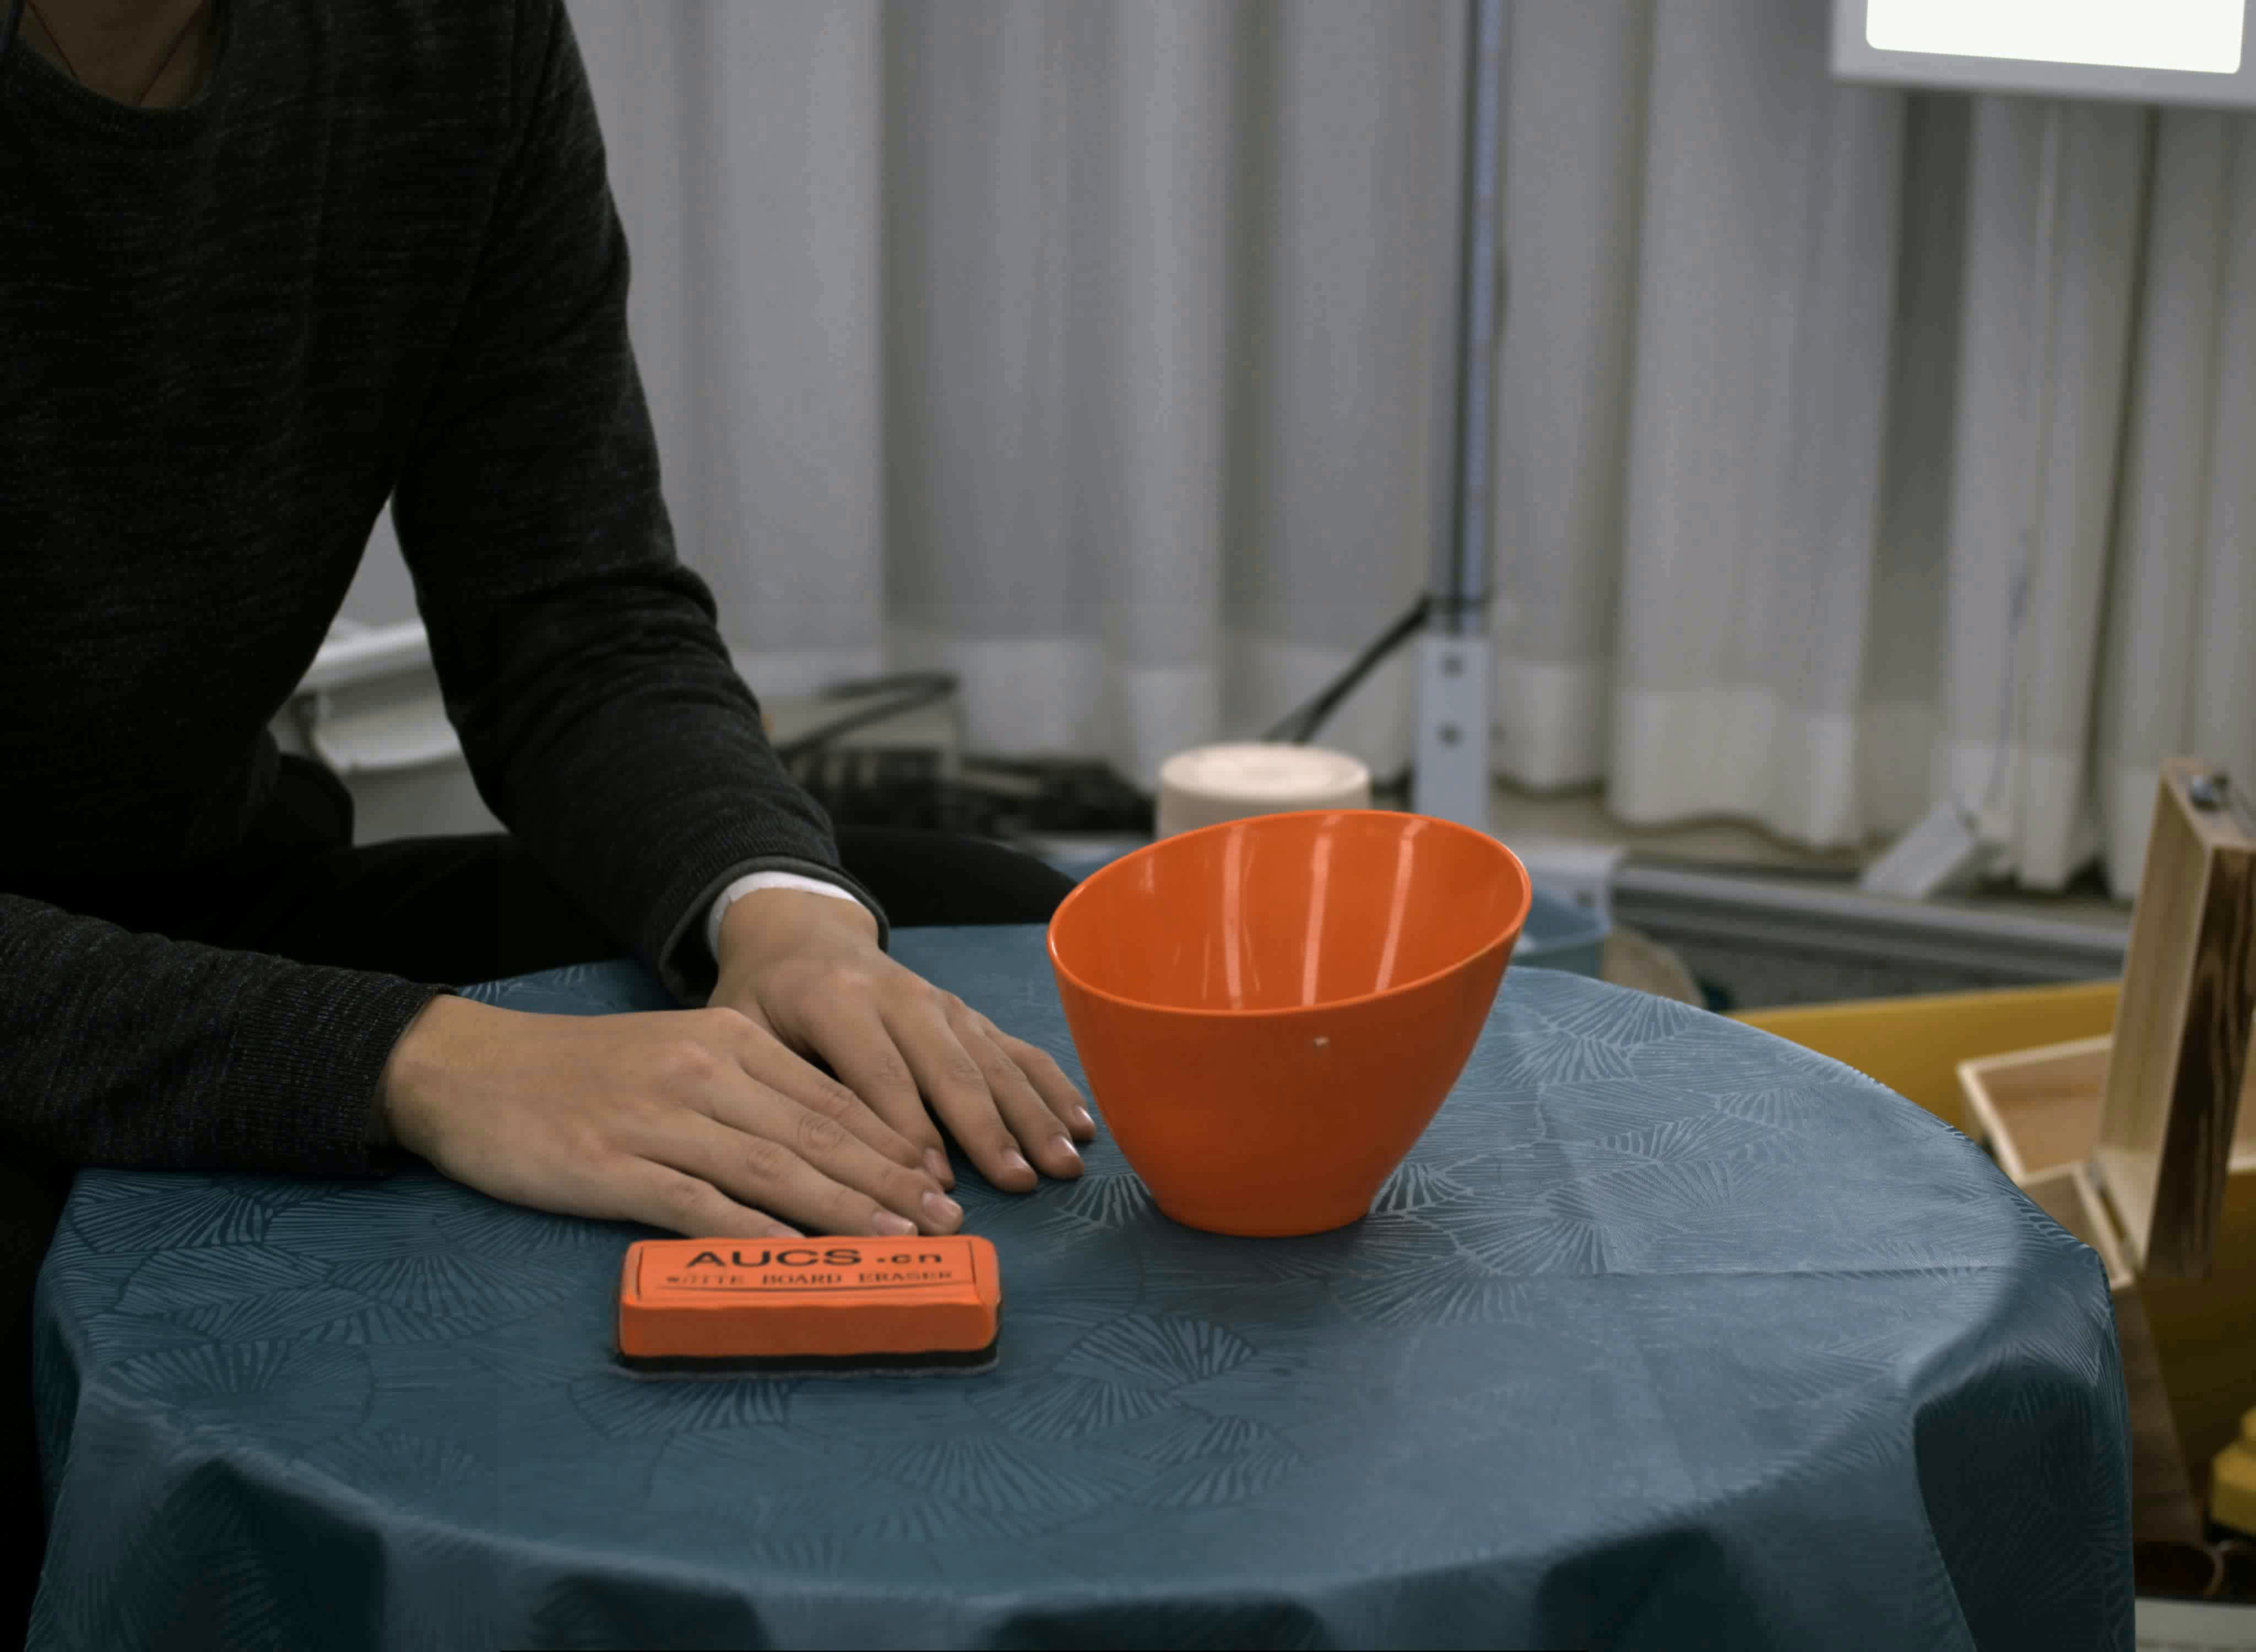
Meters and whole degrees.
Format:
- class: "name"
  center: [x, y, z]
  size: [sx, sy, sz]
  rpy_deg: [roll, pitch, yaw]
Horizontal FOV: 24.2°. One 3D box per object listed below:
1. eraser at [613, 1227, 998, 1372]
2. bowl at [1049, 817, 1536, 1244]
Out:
- class: "eraser"
  center: [-0.091, 0.133, 1.487]
  size: [0.108, 0.023, 0.058]
  rpy_deg: [0, 17, -5]
- class: "bowl"
  center: [0.049, 0.065, 1.604]
  size: [0.147, 0.105, 0.147]
  rpy_deg: [1, 16, 0]
